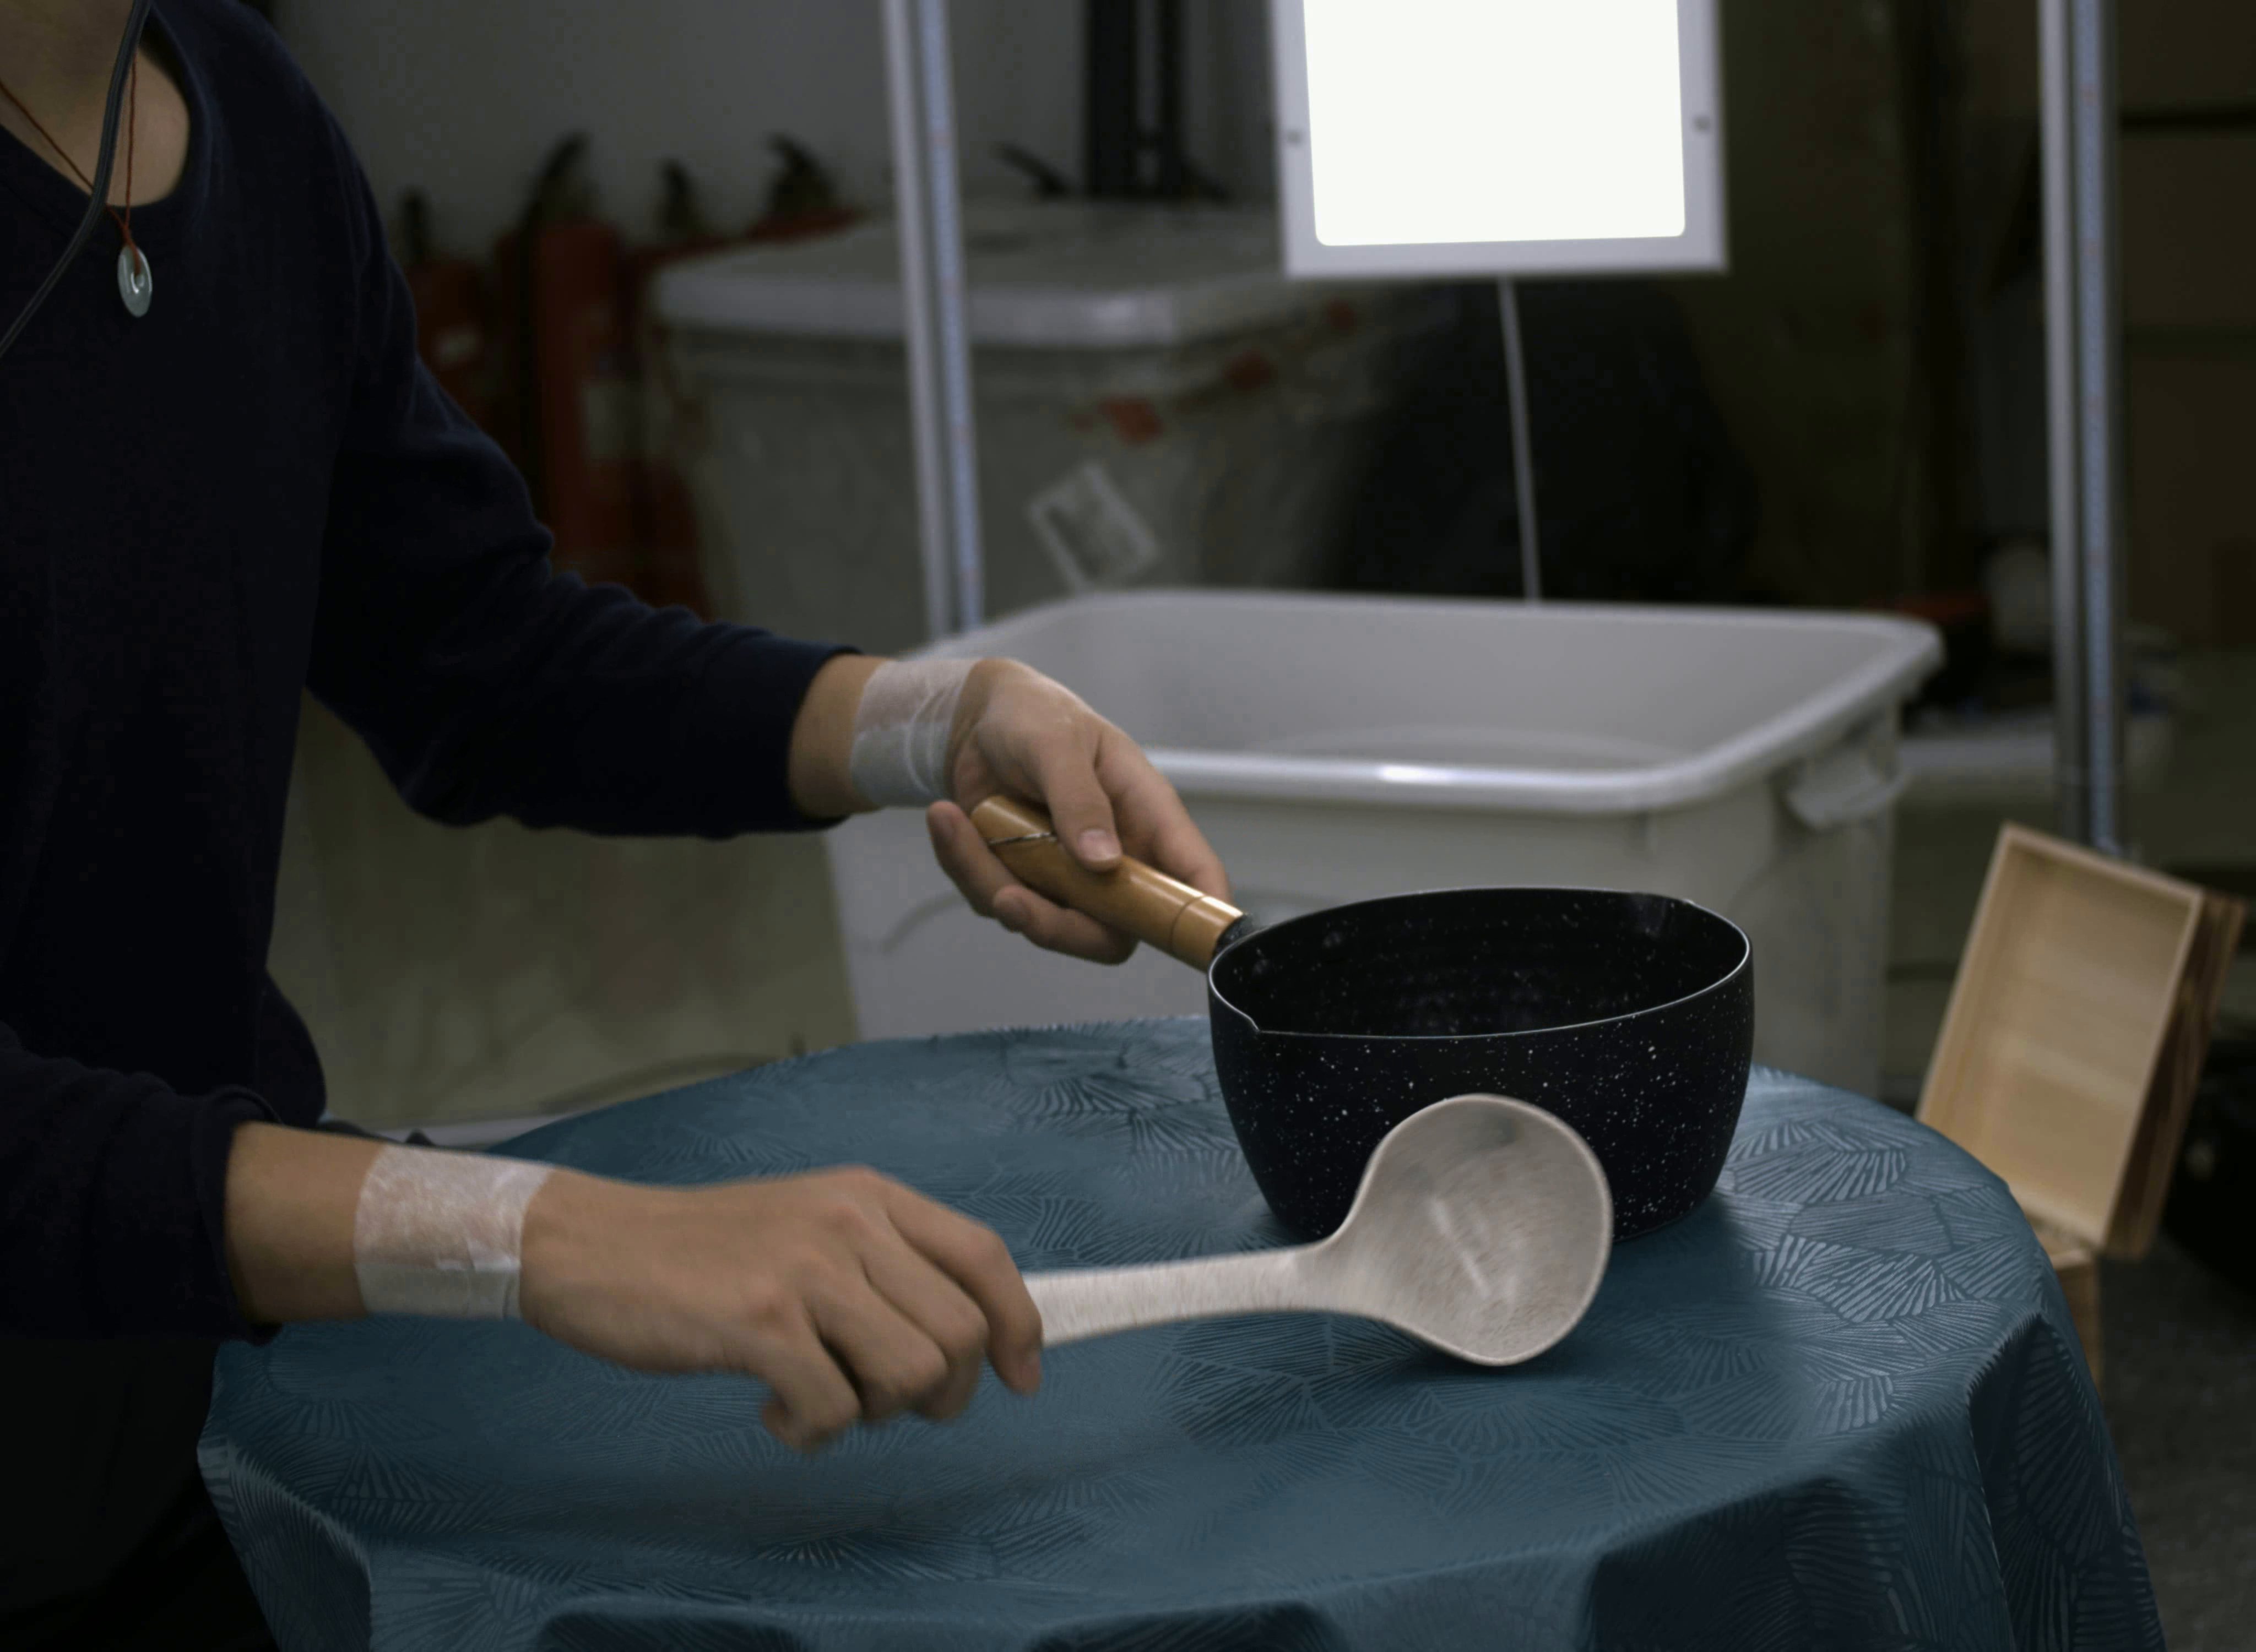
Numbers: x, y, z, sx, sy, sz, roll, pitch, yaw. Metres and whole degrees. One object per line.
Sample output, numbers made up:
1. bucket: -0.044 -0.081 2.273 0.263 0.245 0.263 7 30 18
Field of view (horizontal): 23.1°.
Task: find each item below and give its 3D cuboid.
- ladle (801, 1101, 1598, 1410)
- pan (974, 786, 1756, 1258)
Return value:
1. ladle: 0.025 0.133 1.641 0.268 0.070 0.090 -4 55 -40
2. pan: 0.066 0.063 1.906 0.202 0.108 0.350 -18 20 -39
